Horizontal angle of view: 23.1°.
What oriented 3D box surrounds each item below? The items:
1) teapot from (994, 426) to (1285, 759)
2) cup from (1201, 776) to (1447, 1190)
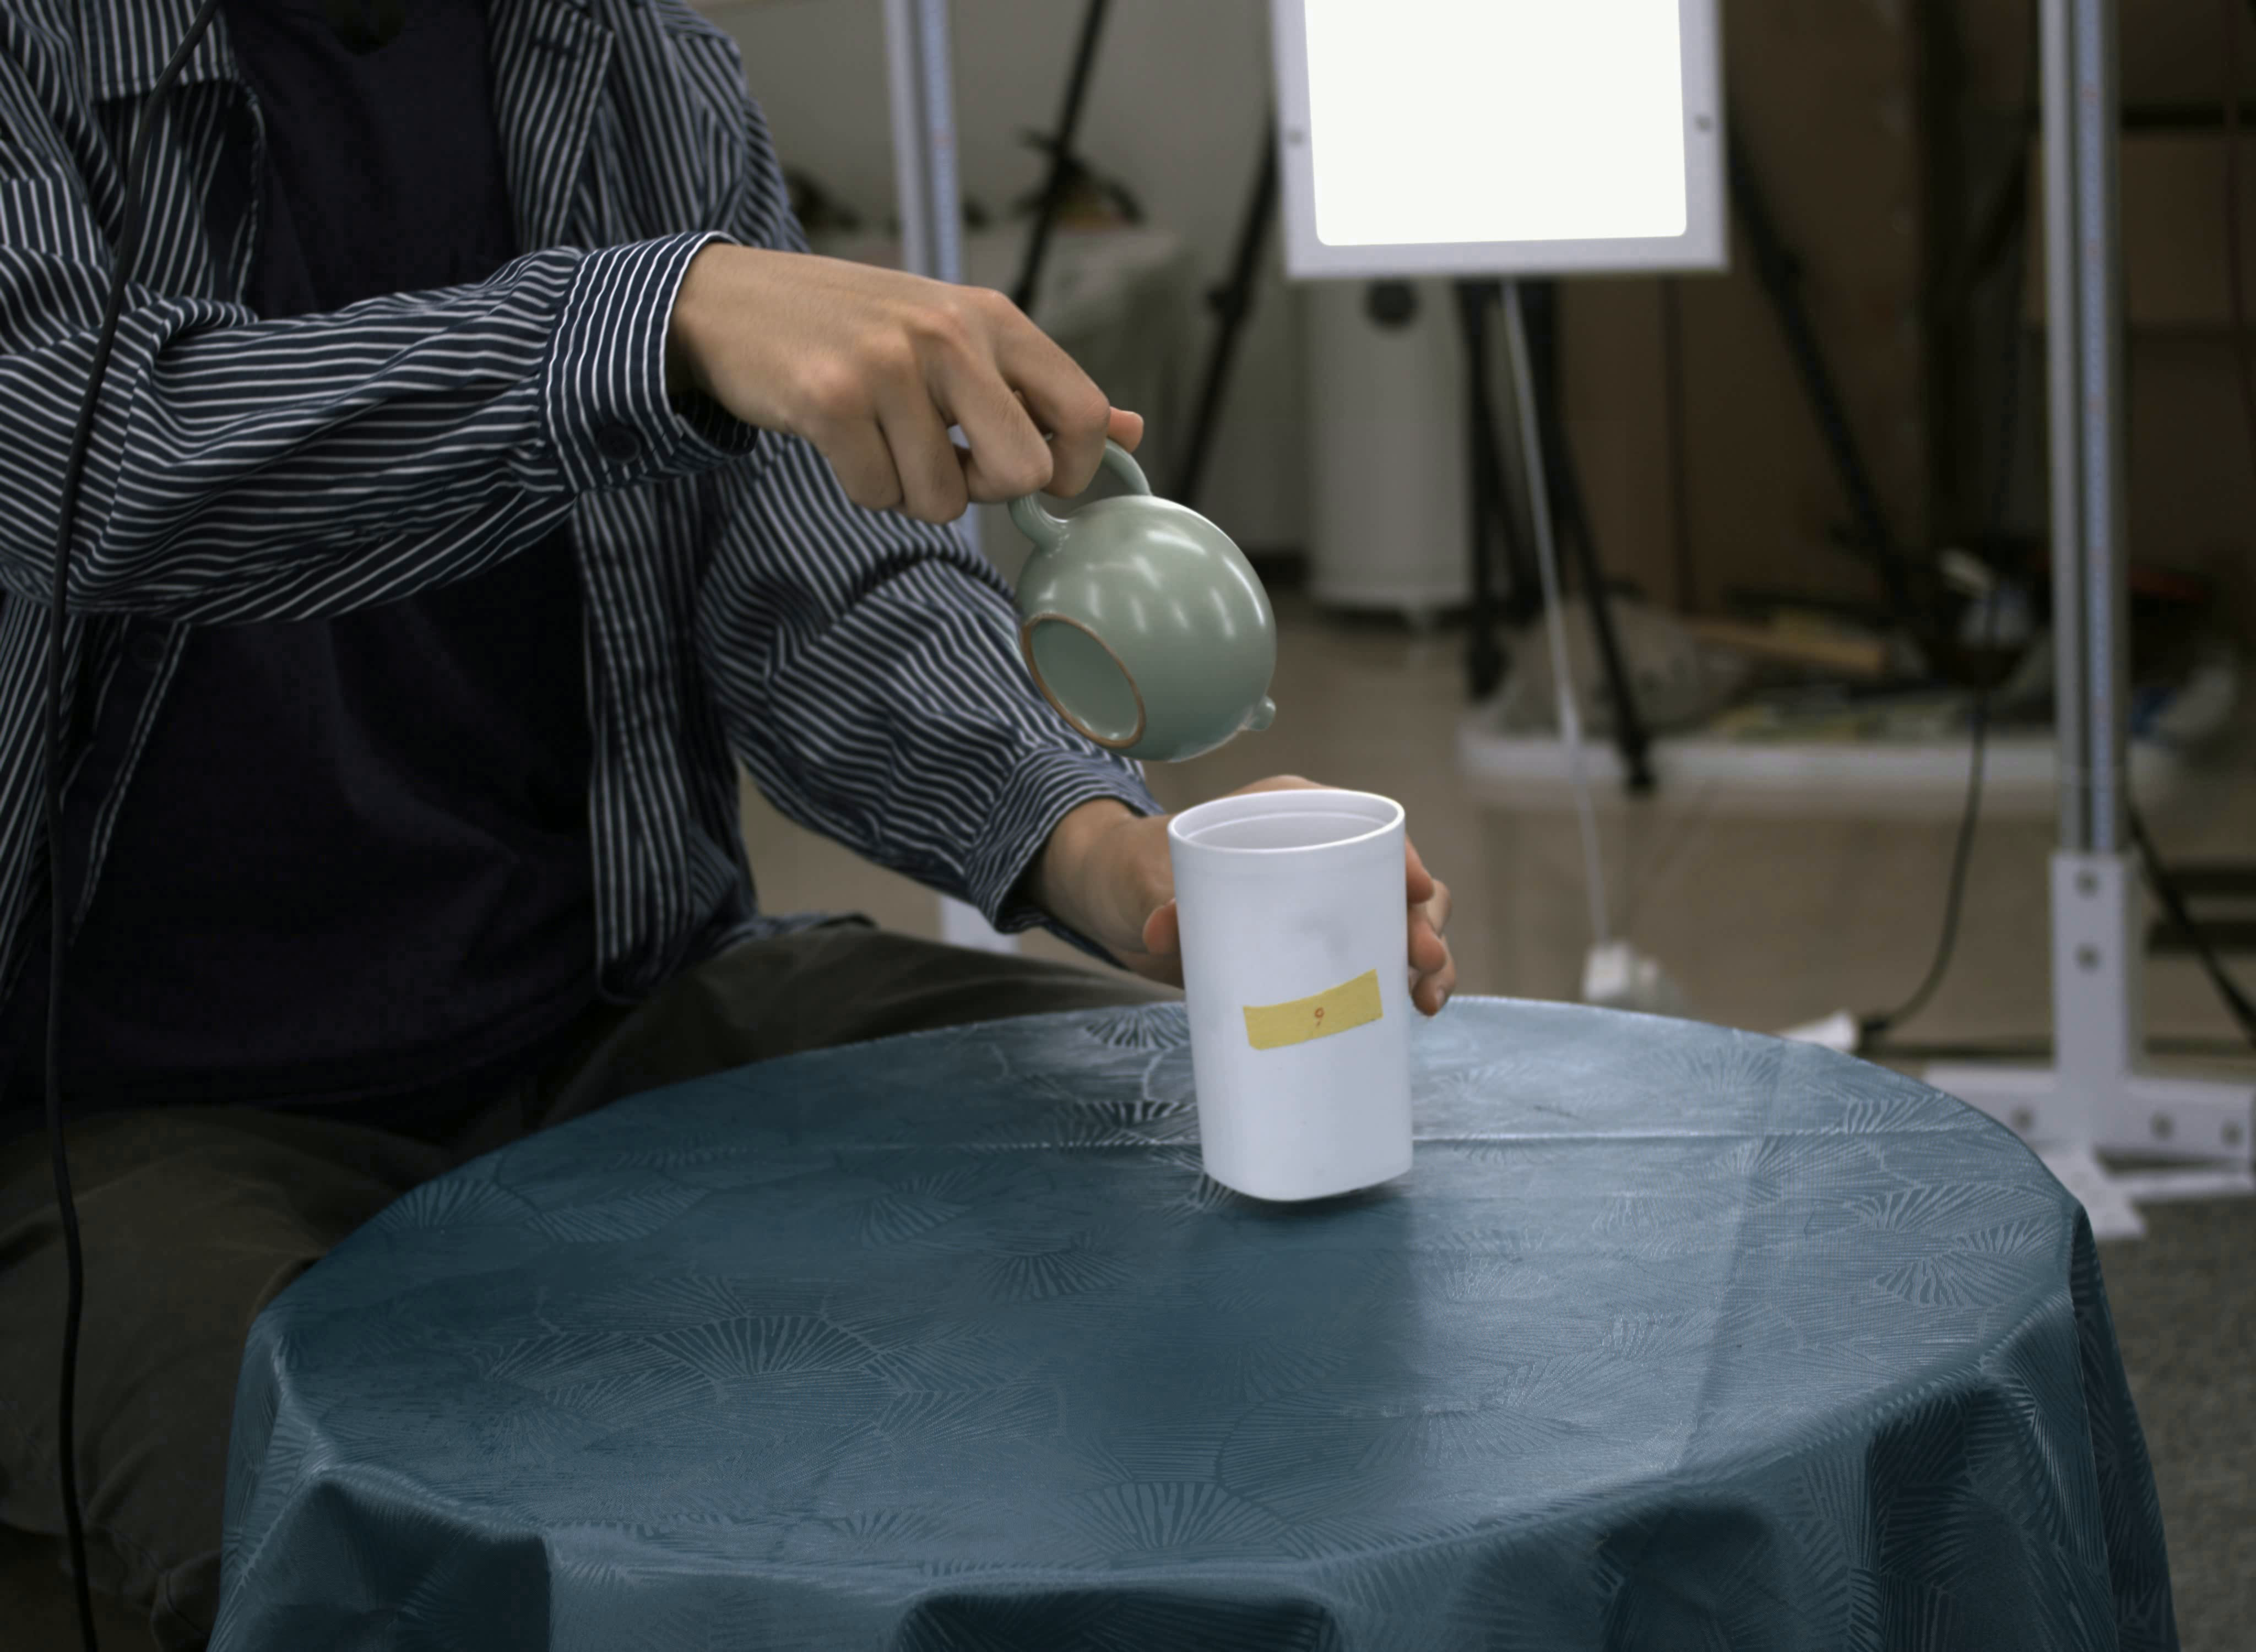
[{"bbox_3d":[0.000,-0.073,1.790,0.060,0.128,0.093,-41,15,-28],"label":"teapot"},{"bbox_3d":[0.070,0.053,1.866,0.081,0.126,0.081,-5,14,0],"label":"cup"}]
